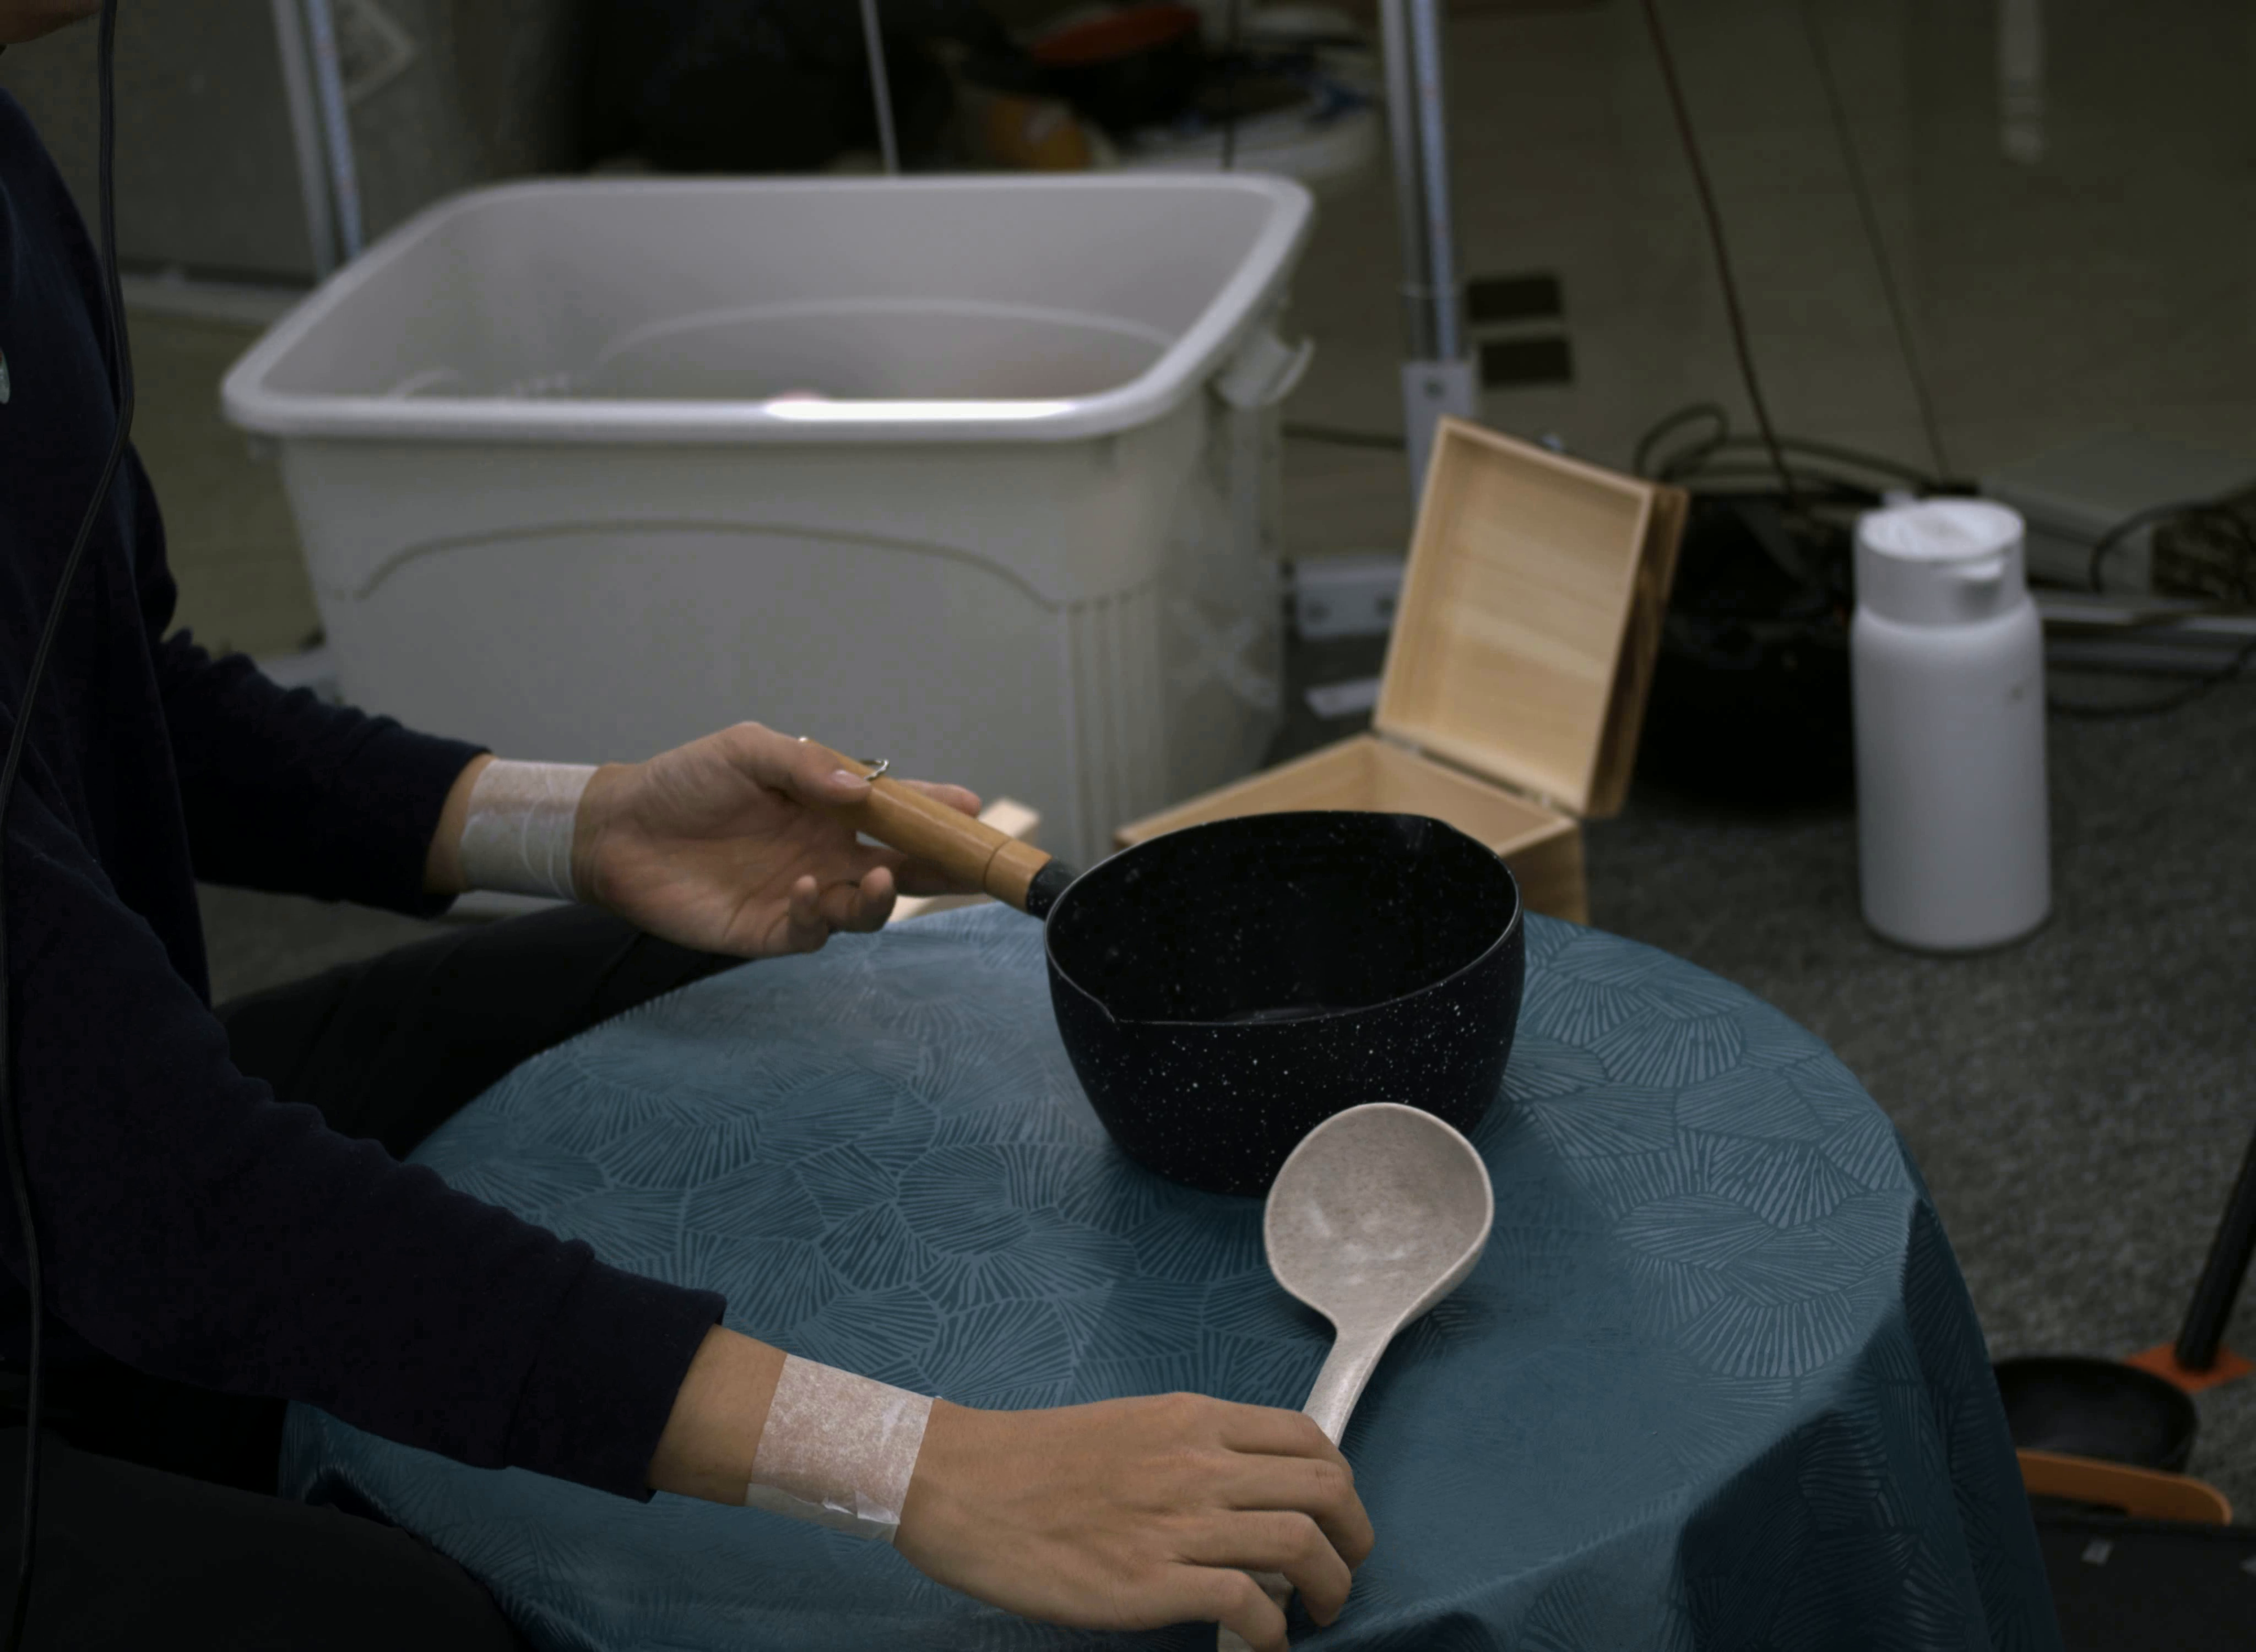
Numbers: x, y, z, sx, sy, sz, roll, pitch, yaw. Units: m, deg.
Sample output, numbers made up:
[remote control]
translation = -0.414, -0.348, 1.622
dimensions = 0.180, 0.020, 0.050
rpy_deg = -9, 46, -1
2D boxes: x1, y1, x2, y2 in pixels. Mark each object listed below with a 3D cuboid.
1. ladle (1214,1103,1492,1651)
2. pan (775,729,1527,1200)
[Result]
[ladle]
translation = 0.061, 0.186, 1.945
dimensions = 0.089, 0.070, 0.271
rpy_deg = -9, 22, 21
[pan]
translation = -0.002, 0.045, 2.217
dimensions = 0.340, 0.110, 0.205
rpy_deg = 14, 33, 34
